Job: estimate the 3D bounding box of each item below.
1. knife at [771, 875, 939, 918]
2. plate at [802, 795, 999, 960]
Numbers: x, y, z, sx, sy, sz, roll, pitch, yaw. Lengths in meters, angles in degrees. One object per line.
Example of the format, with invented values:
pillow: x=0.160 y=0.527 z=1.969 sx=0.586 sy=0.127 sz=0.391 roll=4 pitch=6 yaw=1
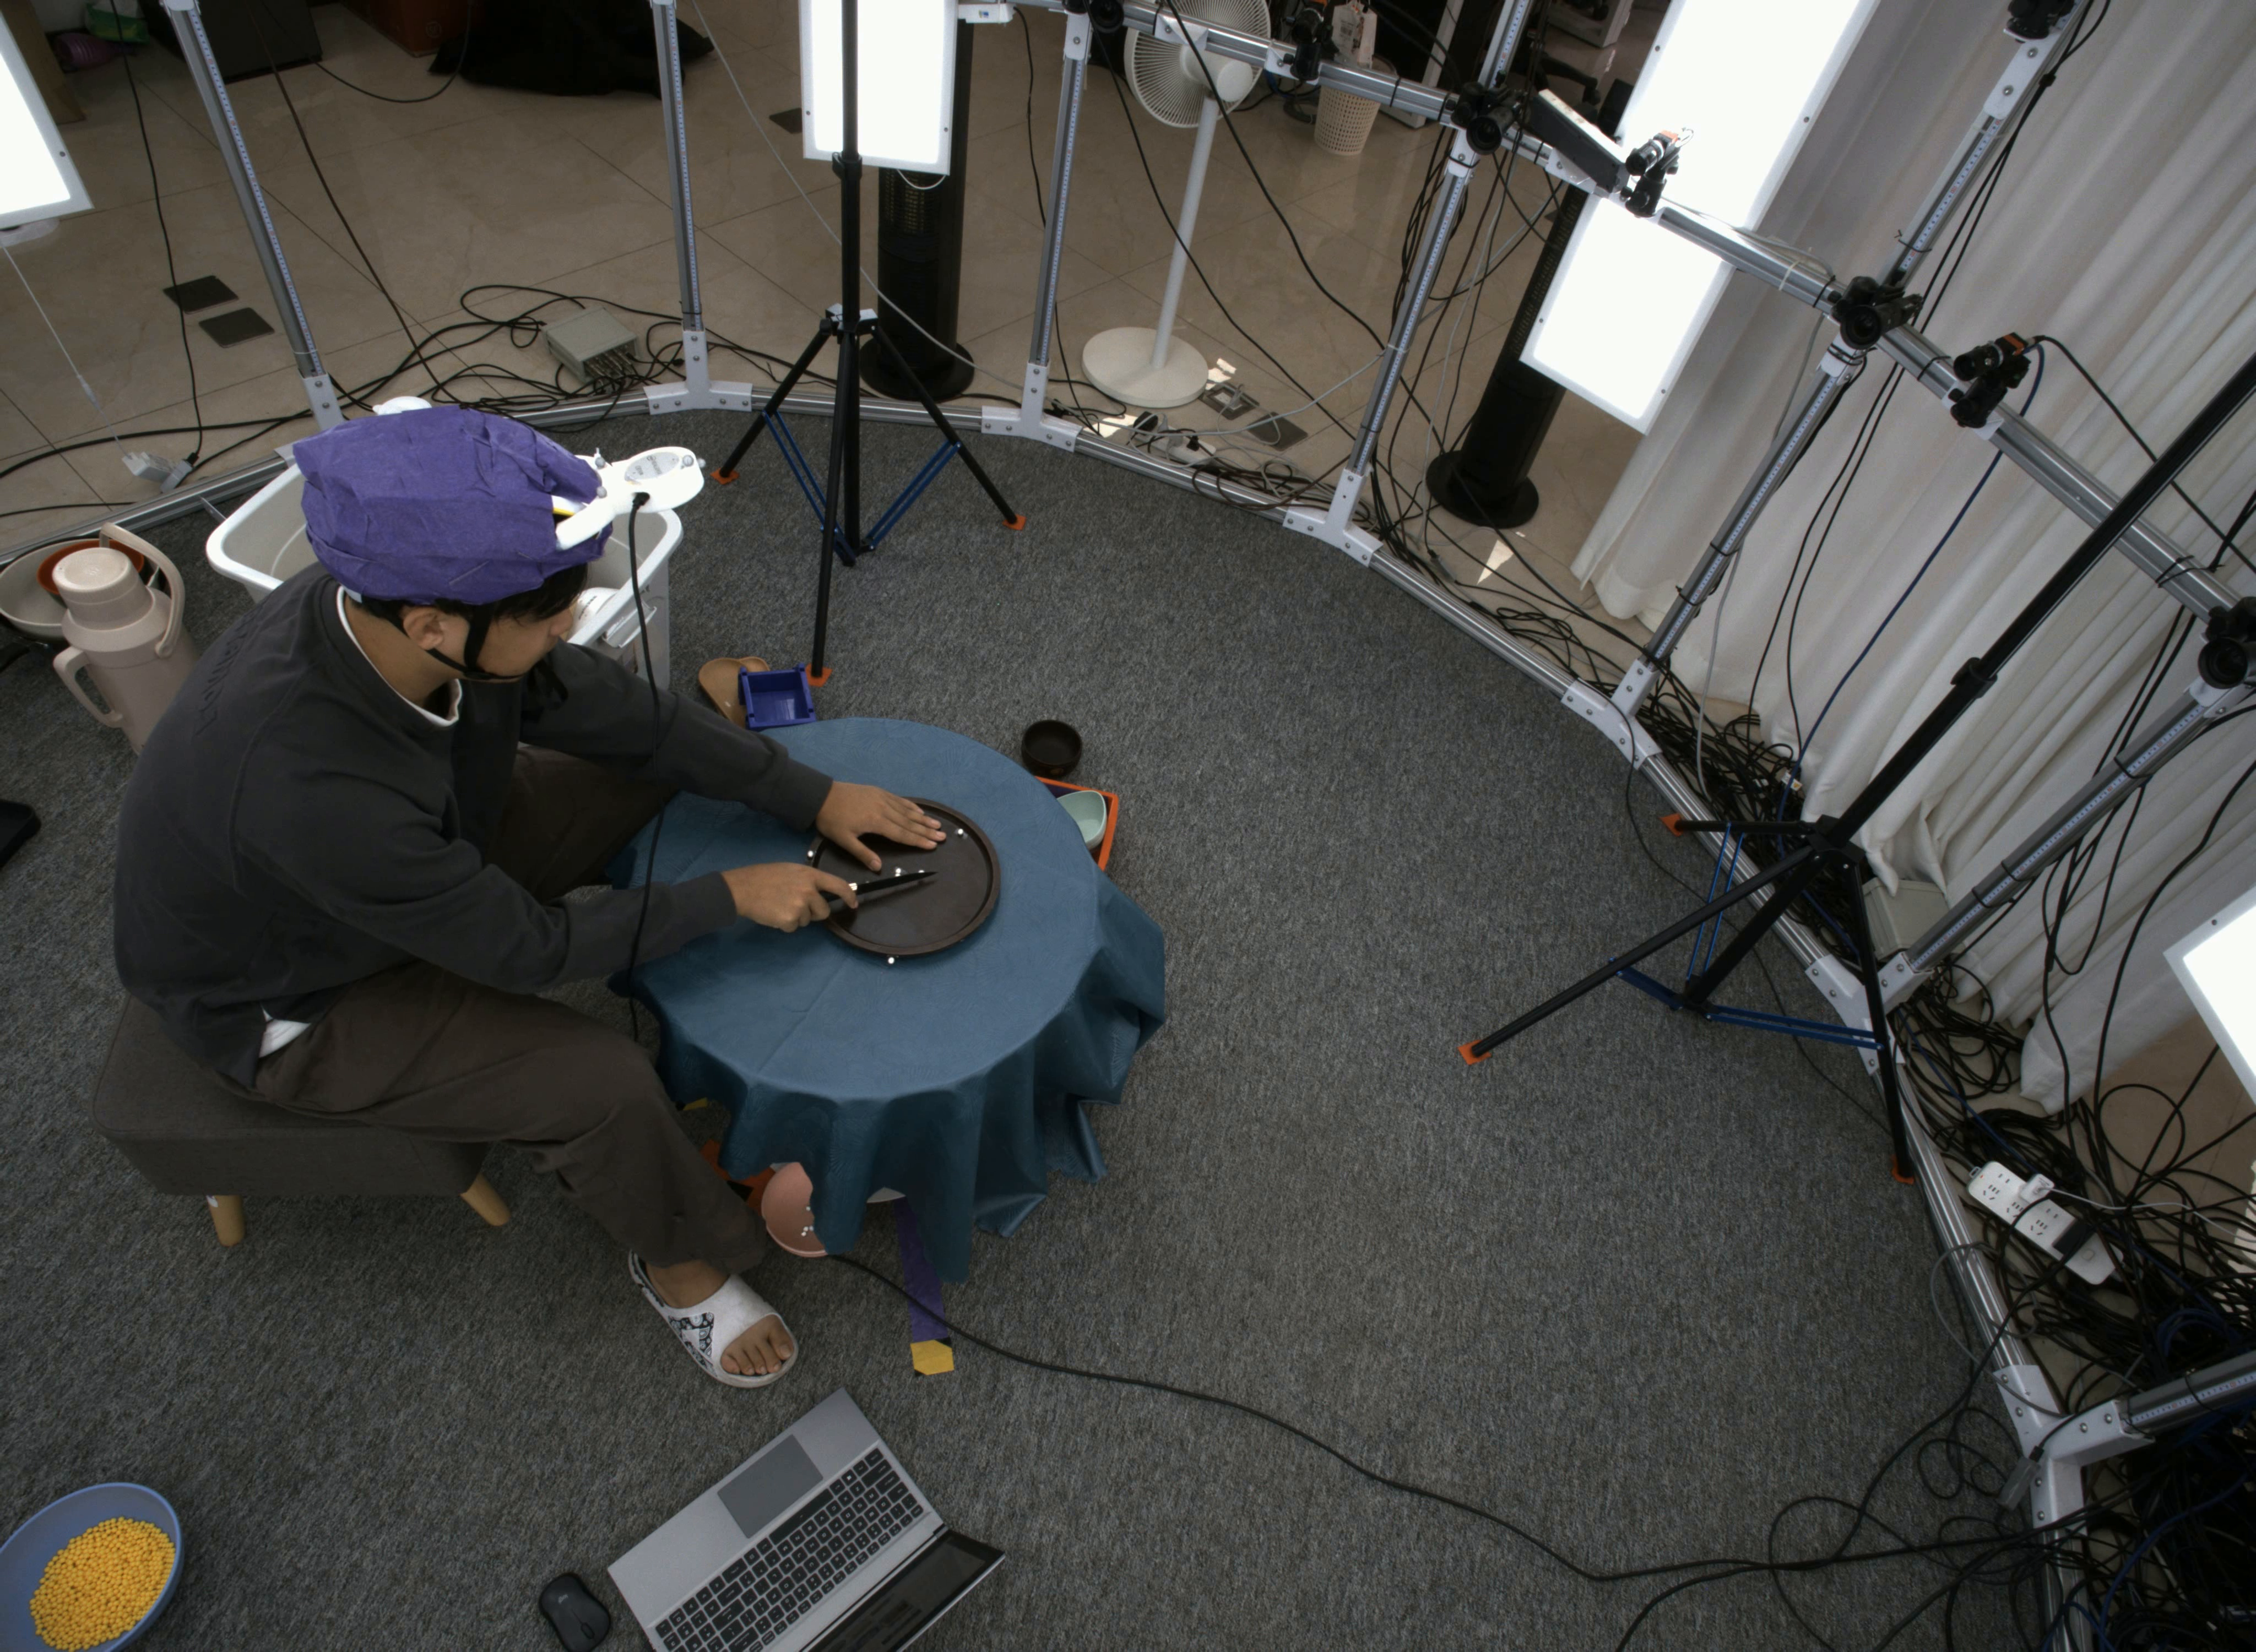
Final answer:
knife: x=-0.341 y=0.082 z=1.639 sx=0.227 sy=0.027 sz=0.017 roll=-13 pitch=53 yaw=-31
plate: x=-0.293 y=0.064 z=1.690 sx=0.254 sy=0.029 sz=0.250 roll=7 pitch=54 yaw=-8
